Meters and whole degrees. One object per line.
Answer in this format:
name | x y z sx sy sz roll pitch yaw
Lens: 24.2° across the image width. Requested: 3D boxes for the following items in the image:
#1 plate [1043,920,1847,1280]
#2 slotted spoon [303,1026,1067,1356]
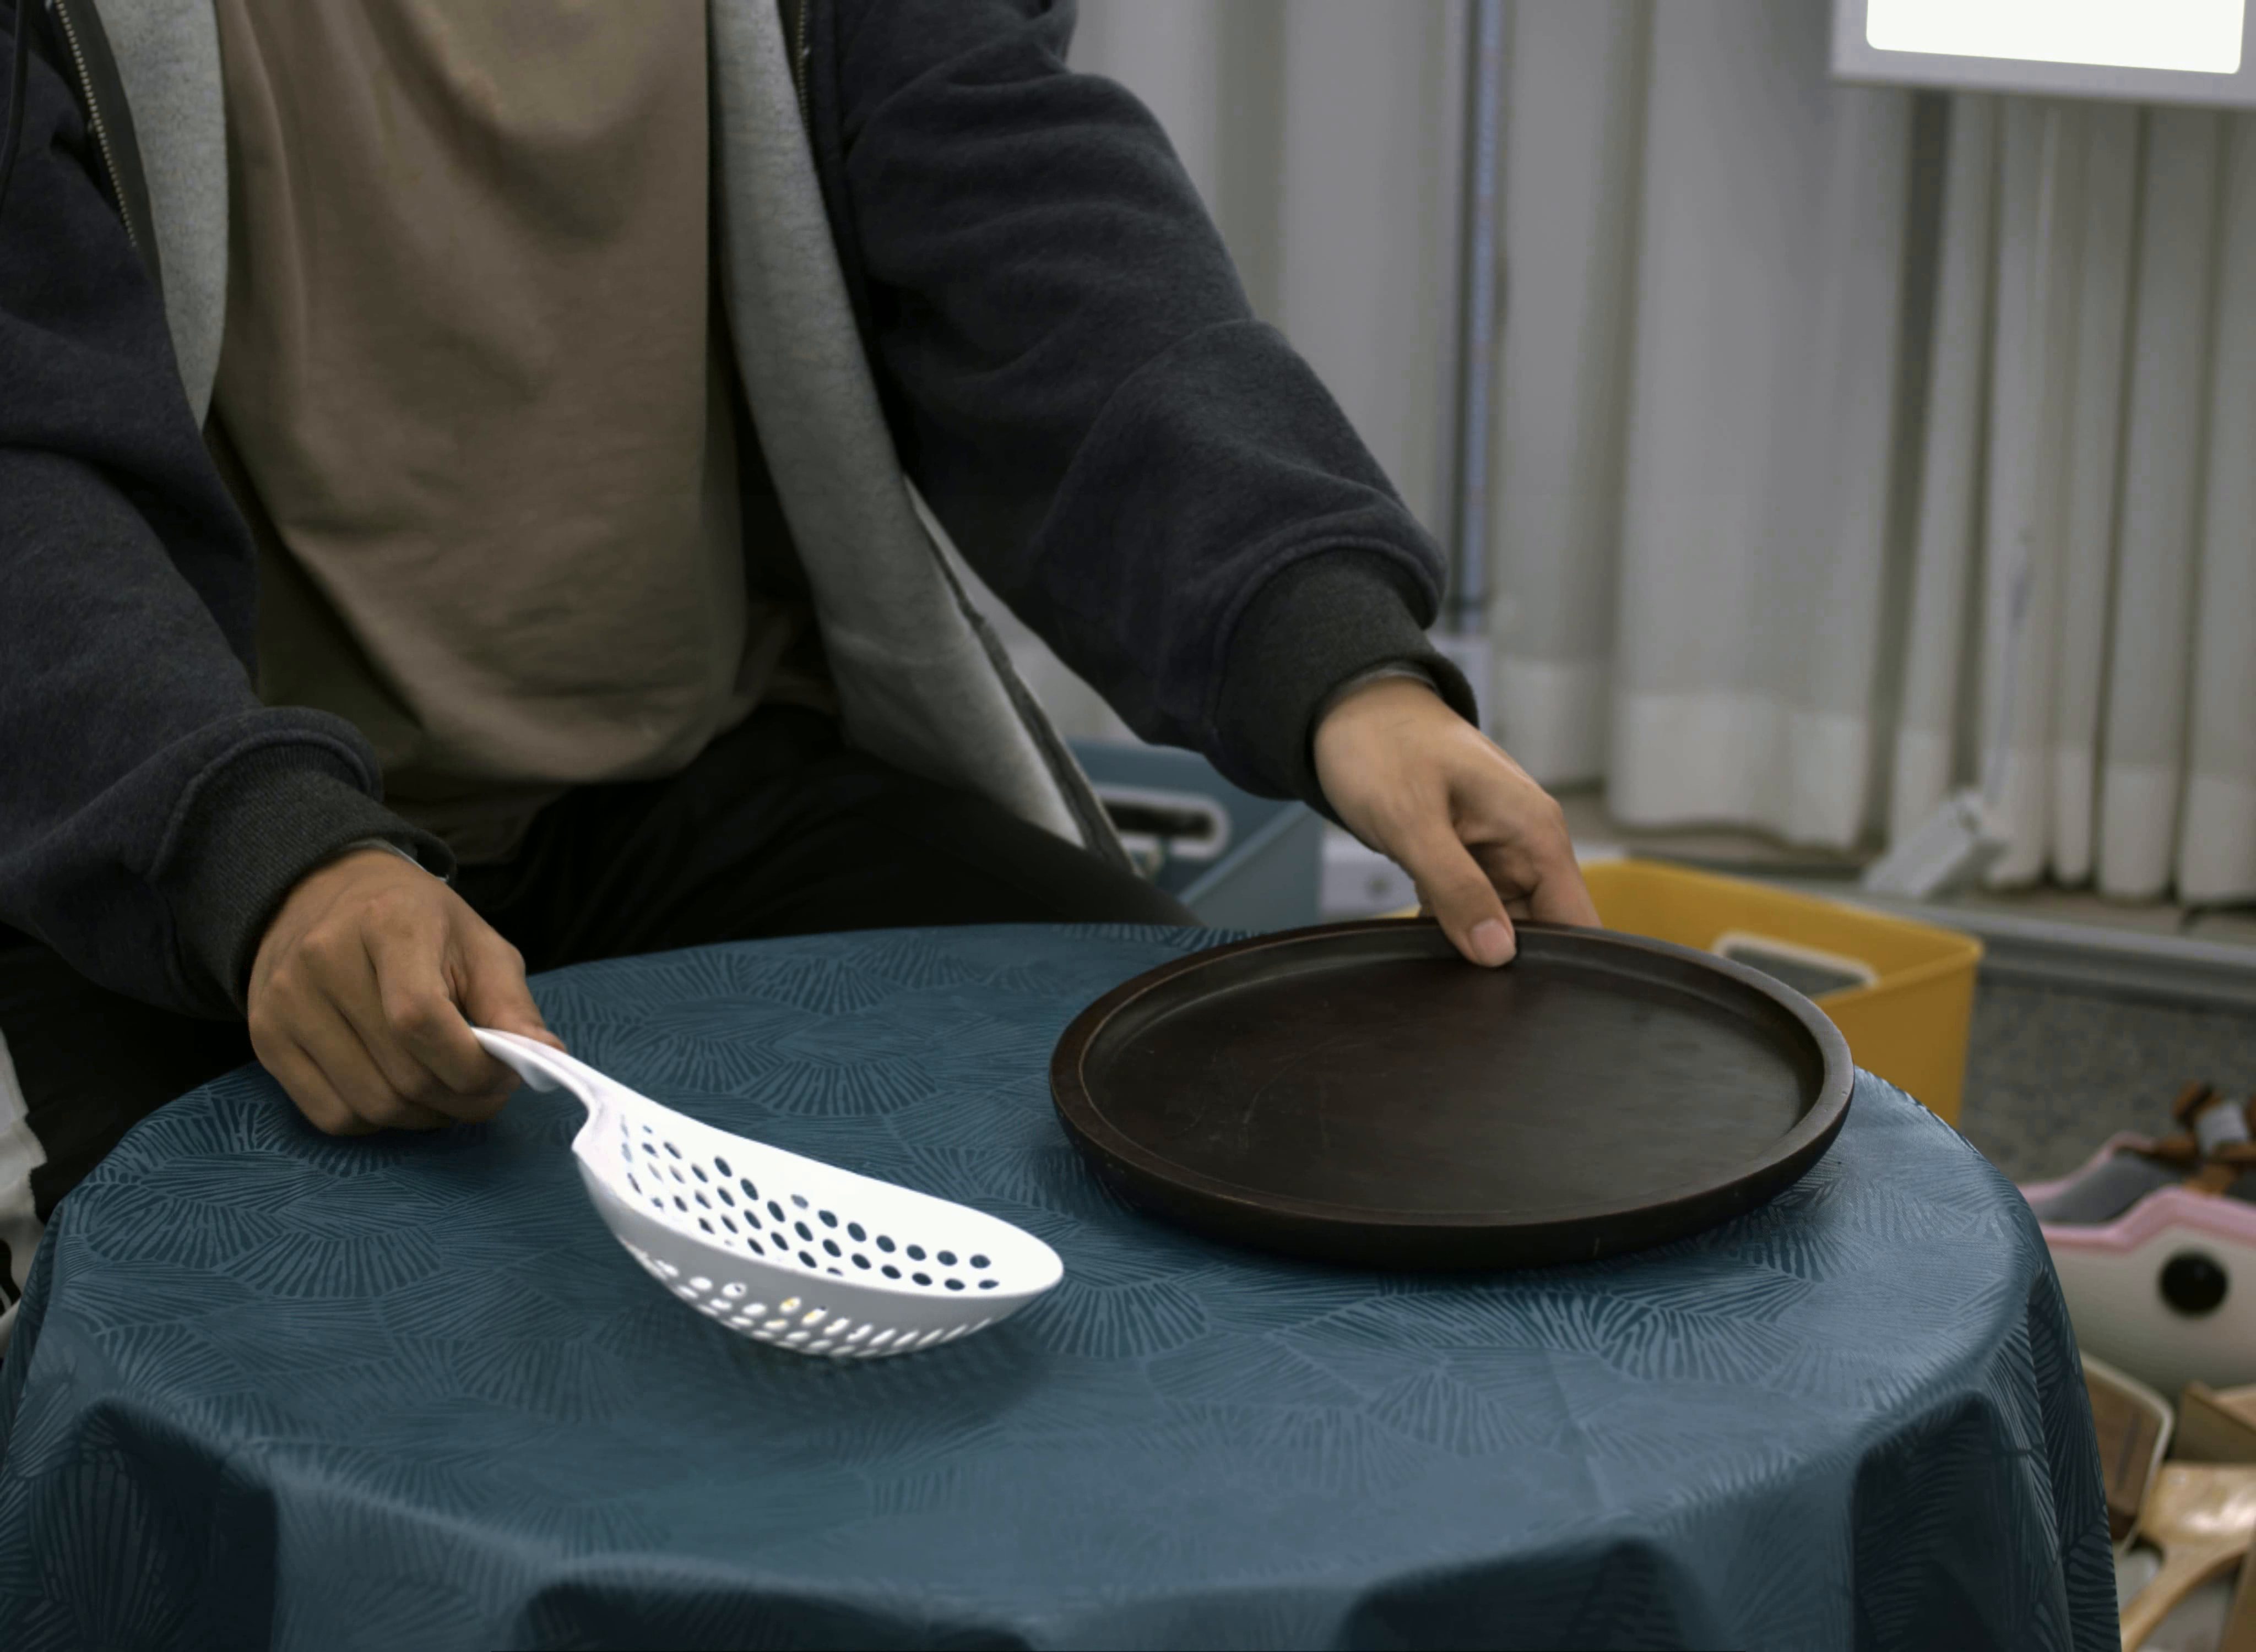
plate | 0.100 0.083 1.656 0.254 0.029 0.253 -1 20 1
slotted spoon | -0.152 0.095 1.567 0.138 0.050 0.343 4 15 -38
